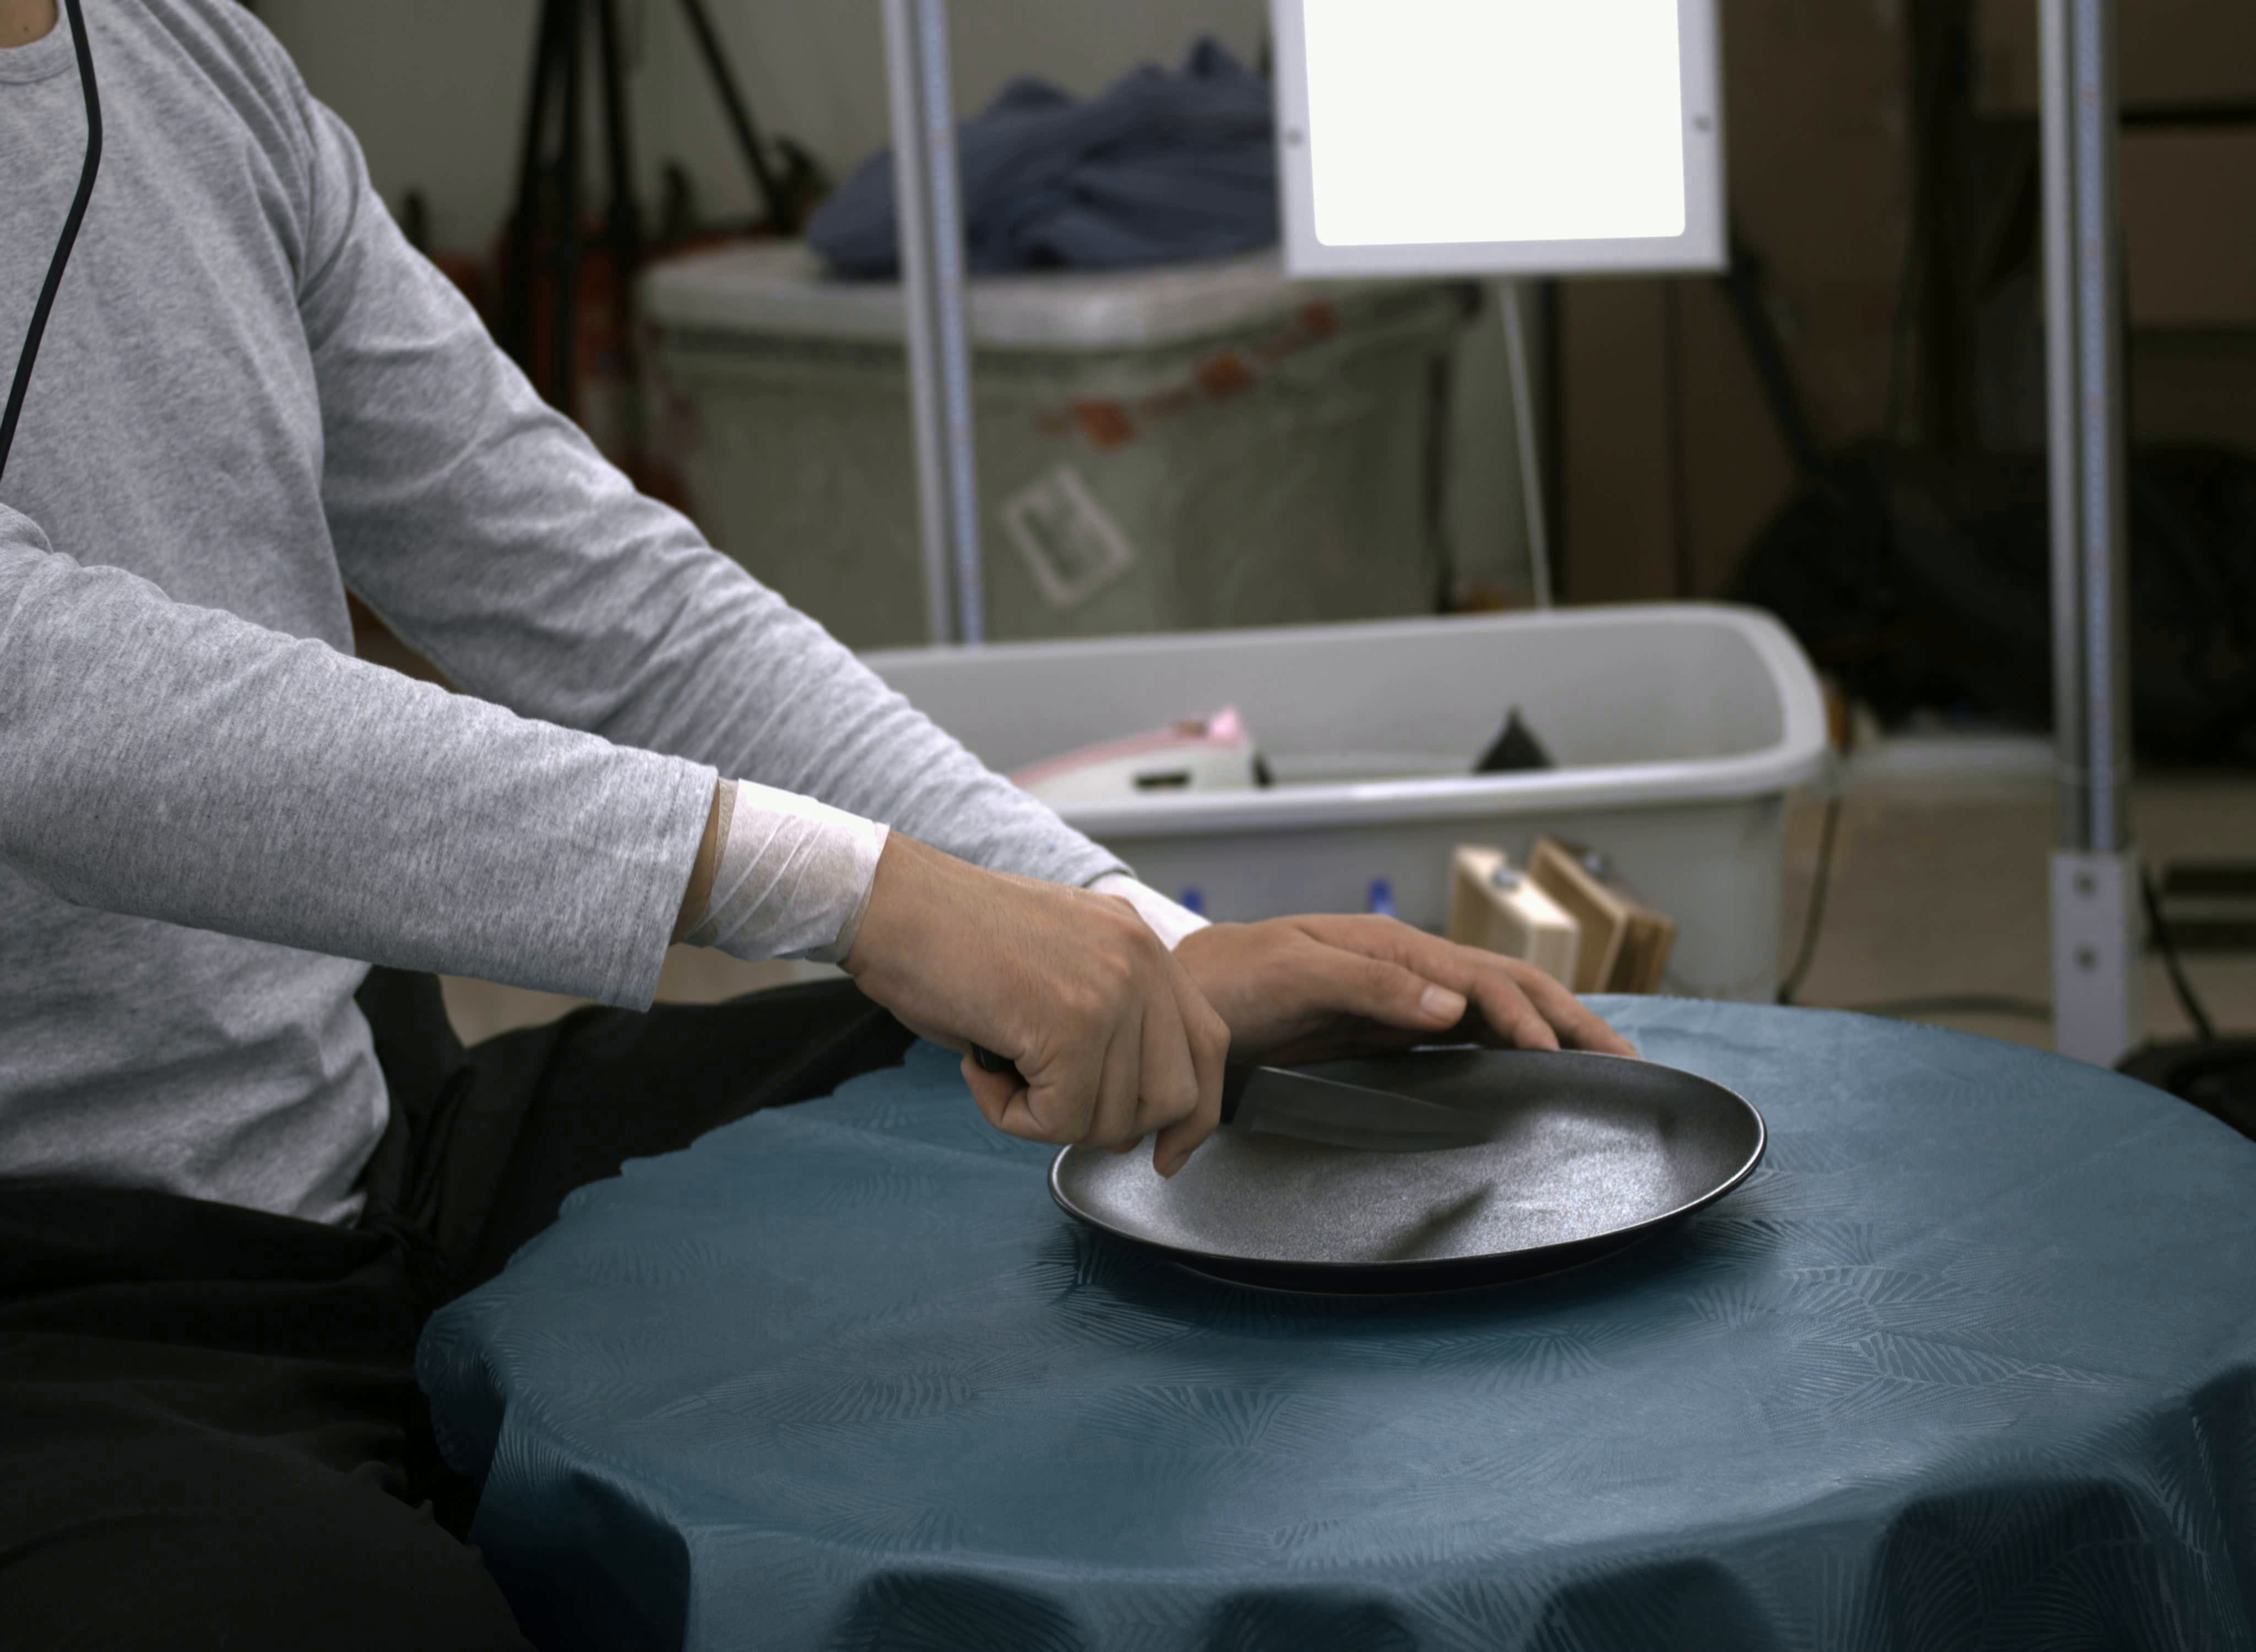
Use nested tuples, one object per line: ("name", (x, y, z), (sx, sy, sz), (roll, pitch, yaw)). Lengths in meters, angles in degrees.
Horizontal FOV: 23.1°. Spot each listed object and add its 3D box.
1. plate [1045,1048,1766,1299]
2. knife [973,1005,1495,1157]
("plate", (0.094, 0.119, 1.852), (0.244, 0.023, 0.244), (-6, 14, 0))
("knife", (0.041, 0.084, 1.790), (0.232, 0.024, 0.016), (14, 0, -41))
